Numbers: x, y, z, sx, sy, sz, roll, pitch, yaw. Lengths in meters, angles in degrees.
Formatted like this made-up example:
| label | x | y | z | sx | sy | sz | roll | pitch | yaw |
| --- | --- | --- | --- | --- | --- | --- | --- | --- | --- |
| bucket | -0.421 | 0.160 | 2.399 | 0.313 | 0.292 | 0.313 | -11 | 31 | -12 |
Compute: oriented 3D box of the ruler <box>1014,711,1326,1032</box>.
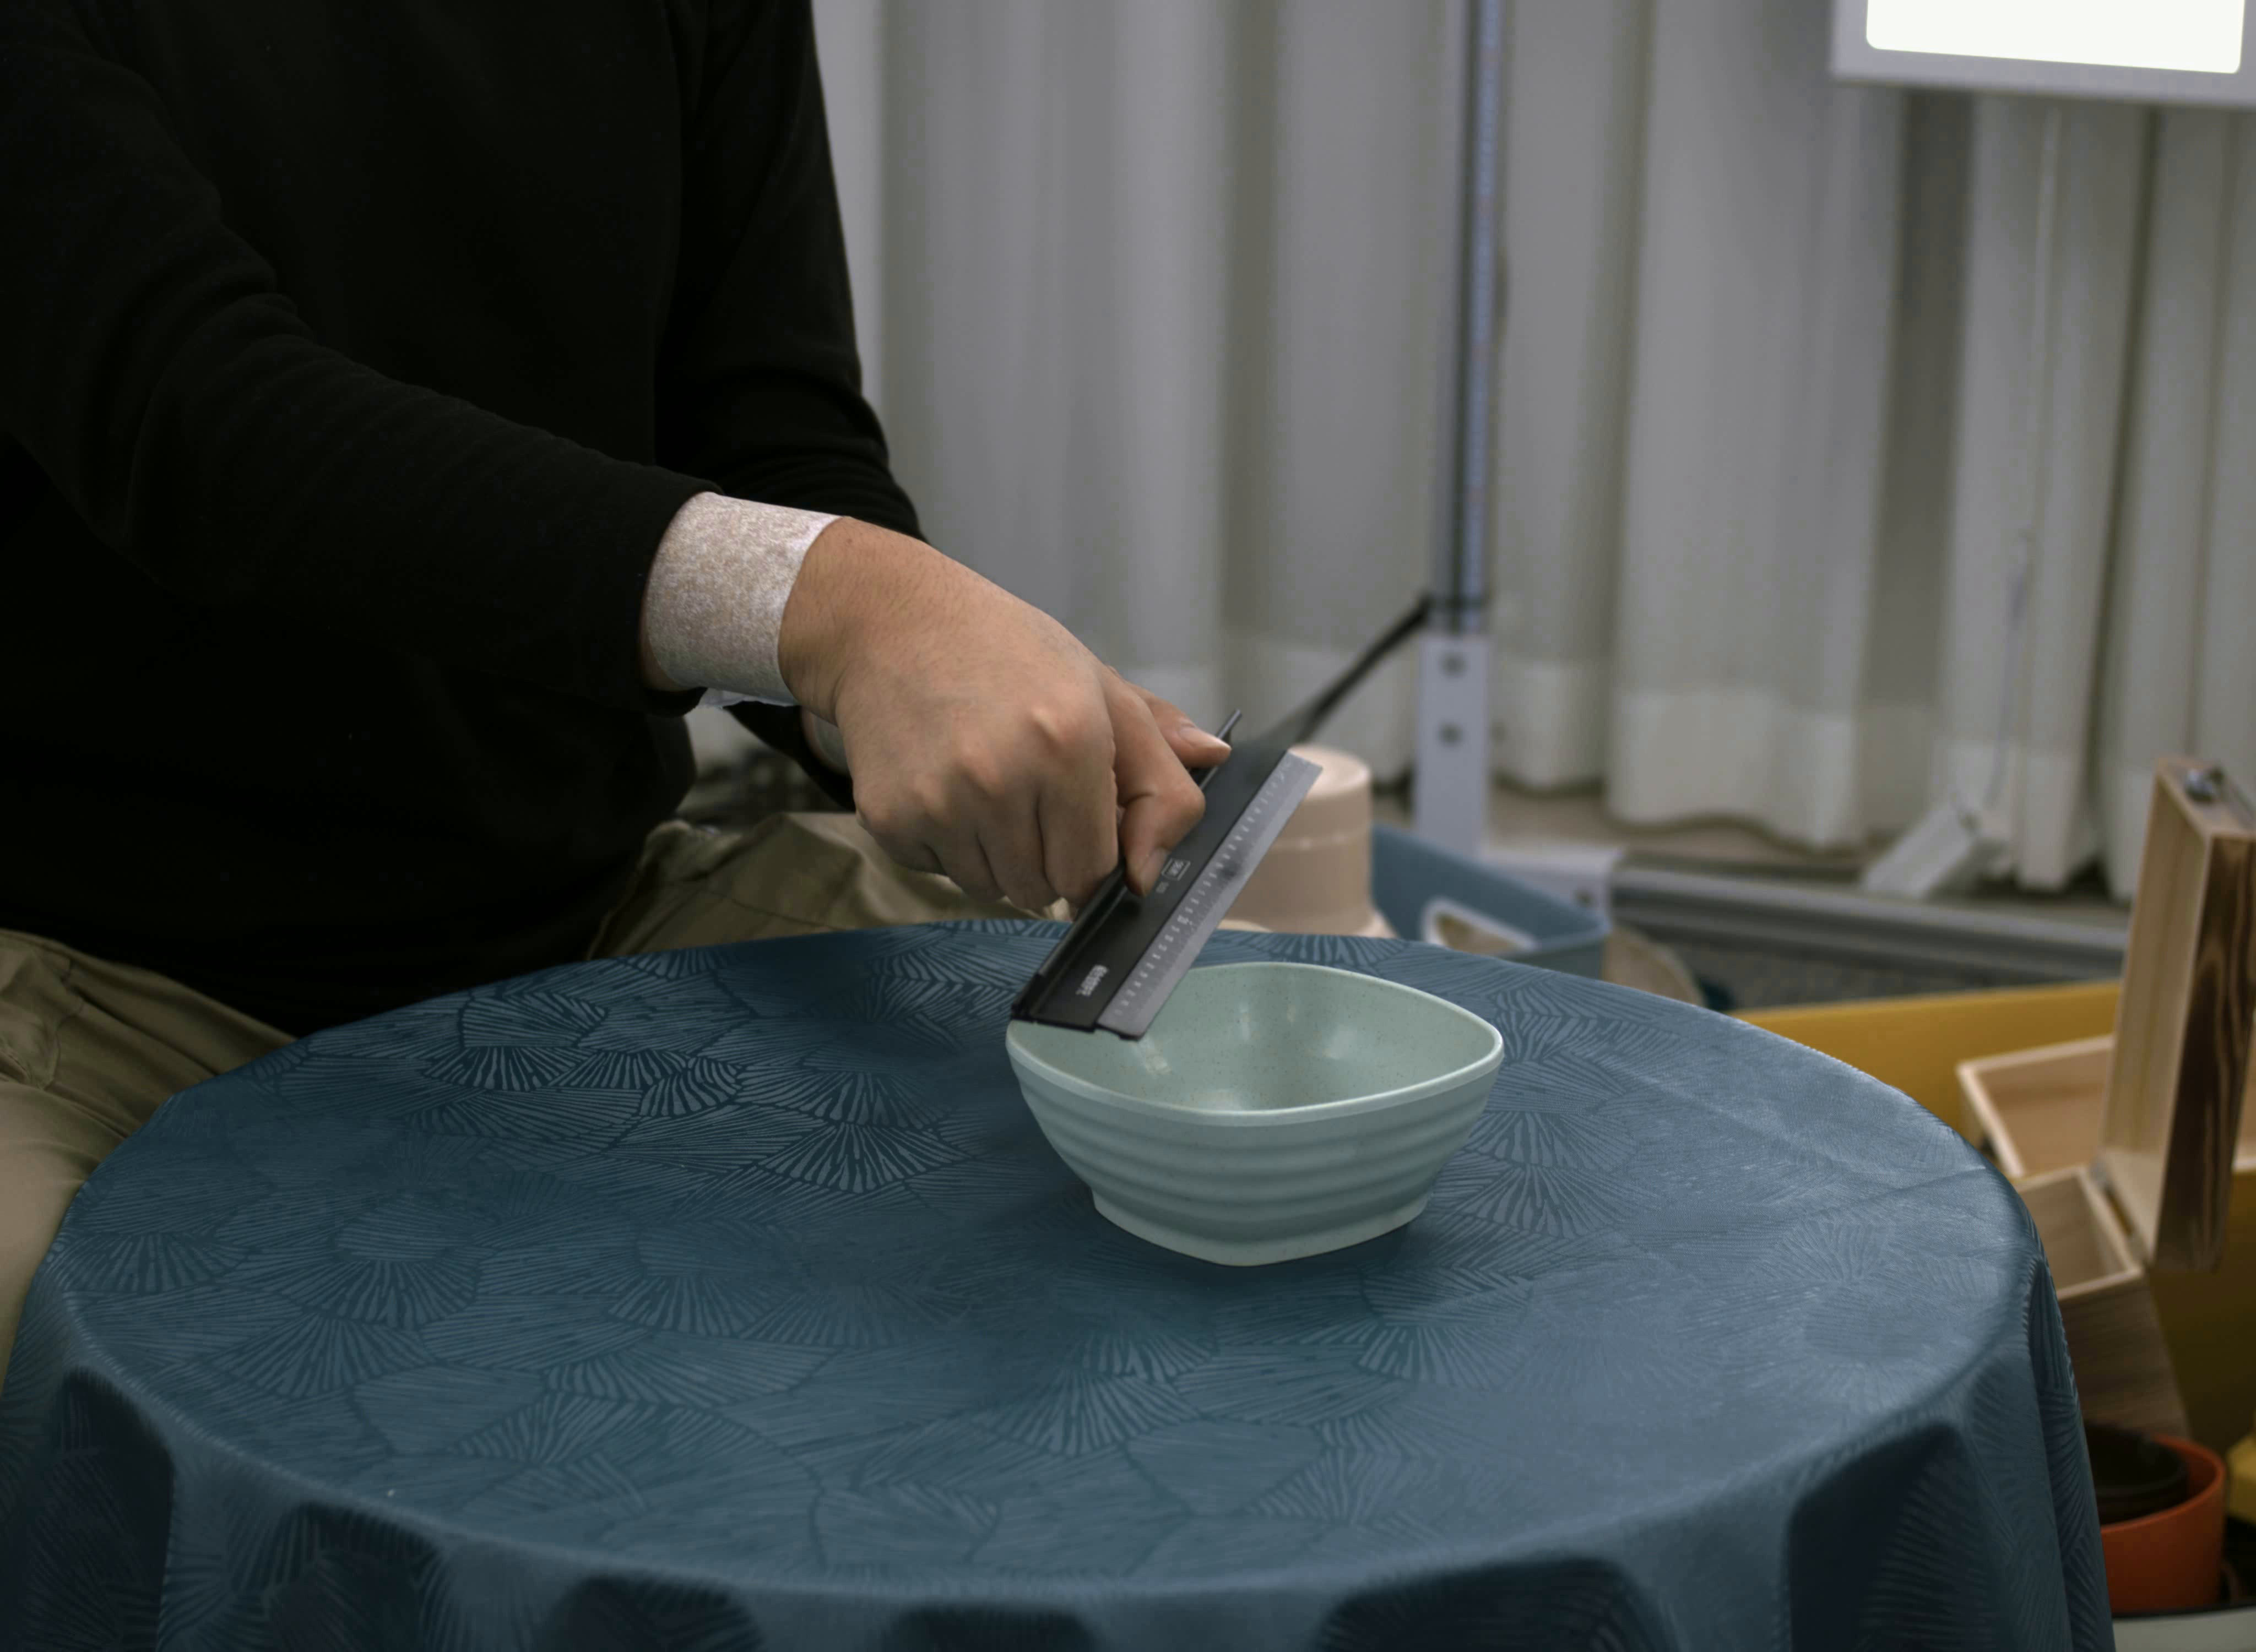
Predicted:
| label | x | y | z | sx | sy | sz | roll | pitch | yaw |
| --- | --- | --- | --- | --- | --- | --- | --- | --- | --- |
| ruler | 0.018 | 0.010 | 1.618 | 0.039 | 0.017 | 0.312 | 13 | 17 | 9 |

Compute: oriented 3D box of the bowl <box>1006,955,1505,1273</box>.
| label | x | y | z | sx | sy | sz | roll | pitch | yaw |
| --- | --- | --- | --- | --- | --- | --- | --- | --- | --- |
| bowl | 0.038 | 0.091 | 1.597 | 0.151 | 0.059 | 0.150 | 1 | 18 | 0 |
